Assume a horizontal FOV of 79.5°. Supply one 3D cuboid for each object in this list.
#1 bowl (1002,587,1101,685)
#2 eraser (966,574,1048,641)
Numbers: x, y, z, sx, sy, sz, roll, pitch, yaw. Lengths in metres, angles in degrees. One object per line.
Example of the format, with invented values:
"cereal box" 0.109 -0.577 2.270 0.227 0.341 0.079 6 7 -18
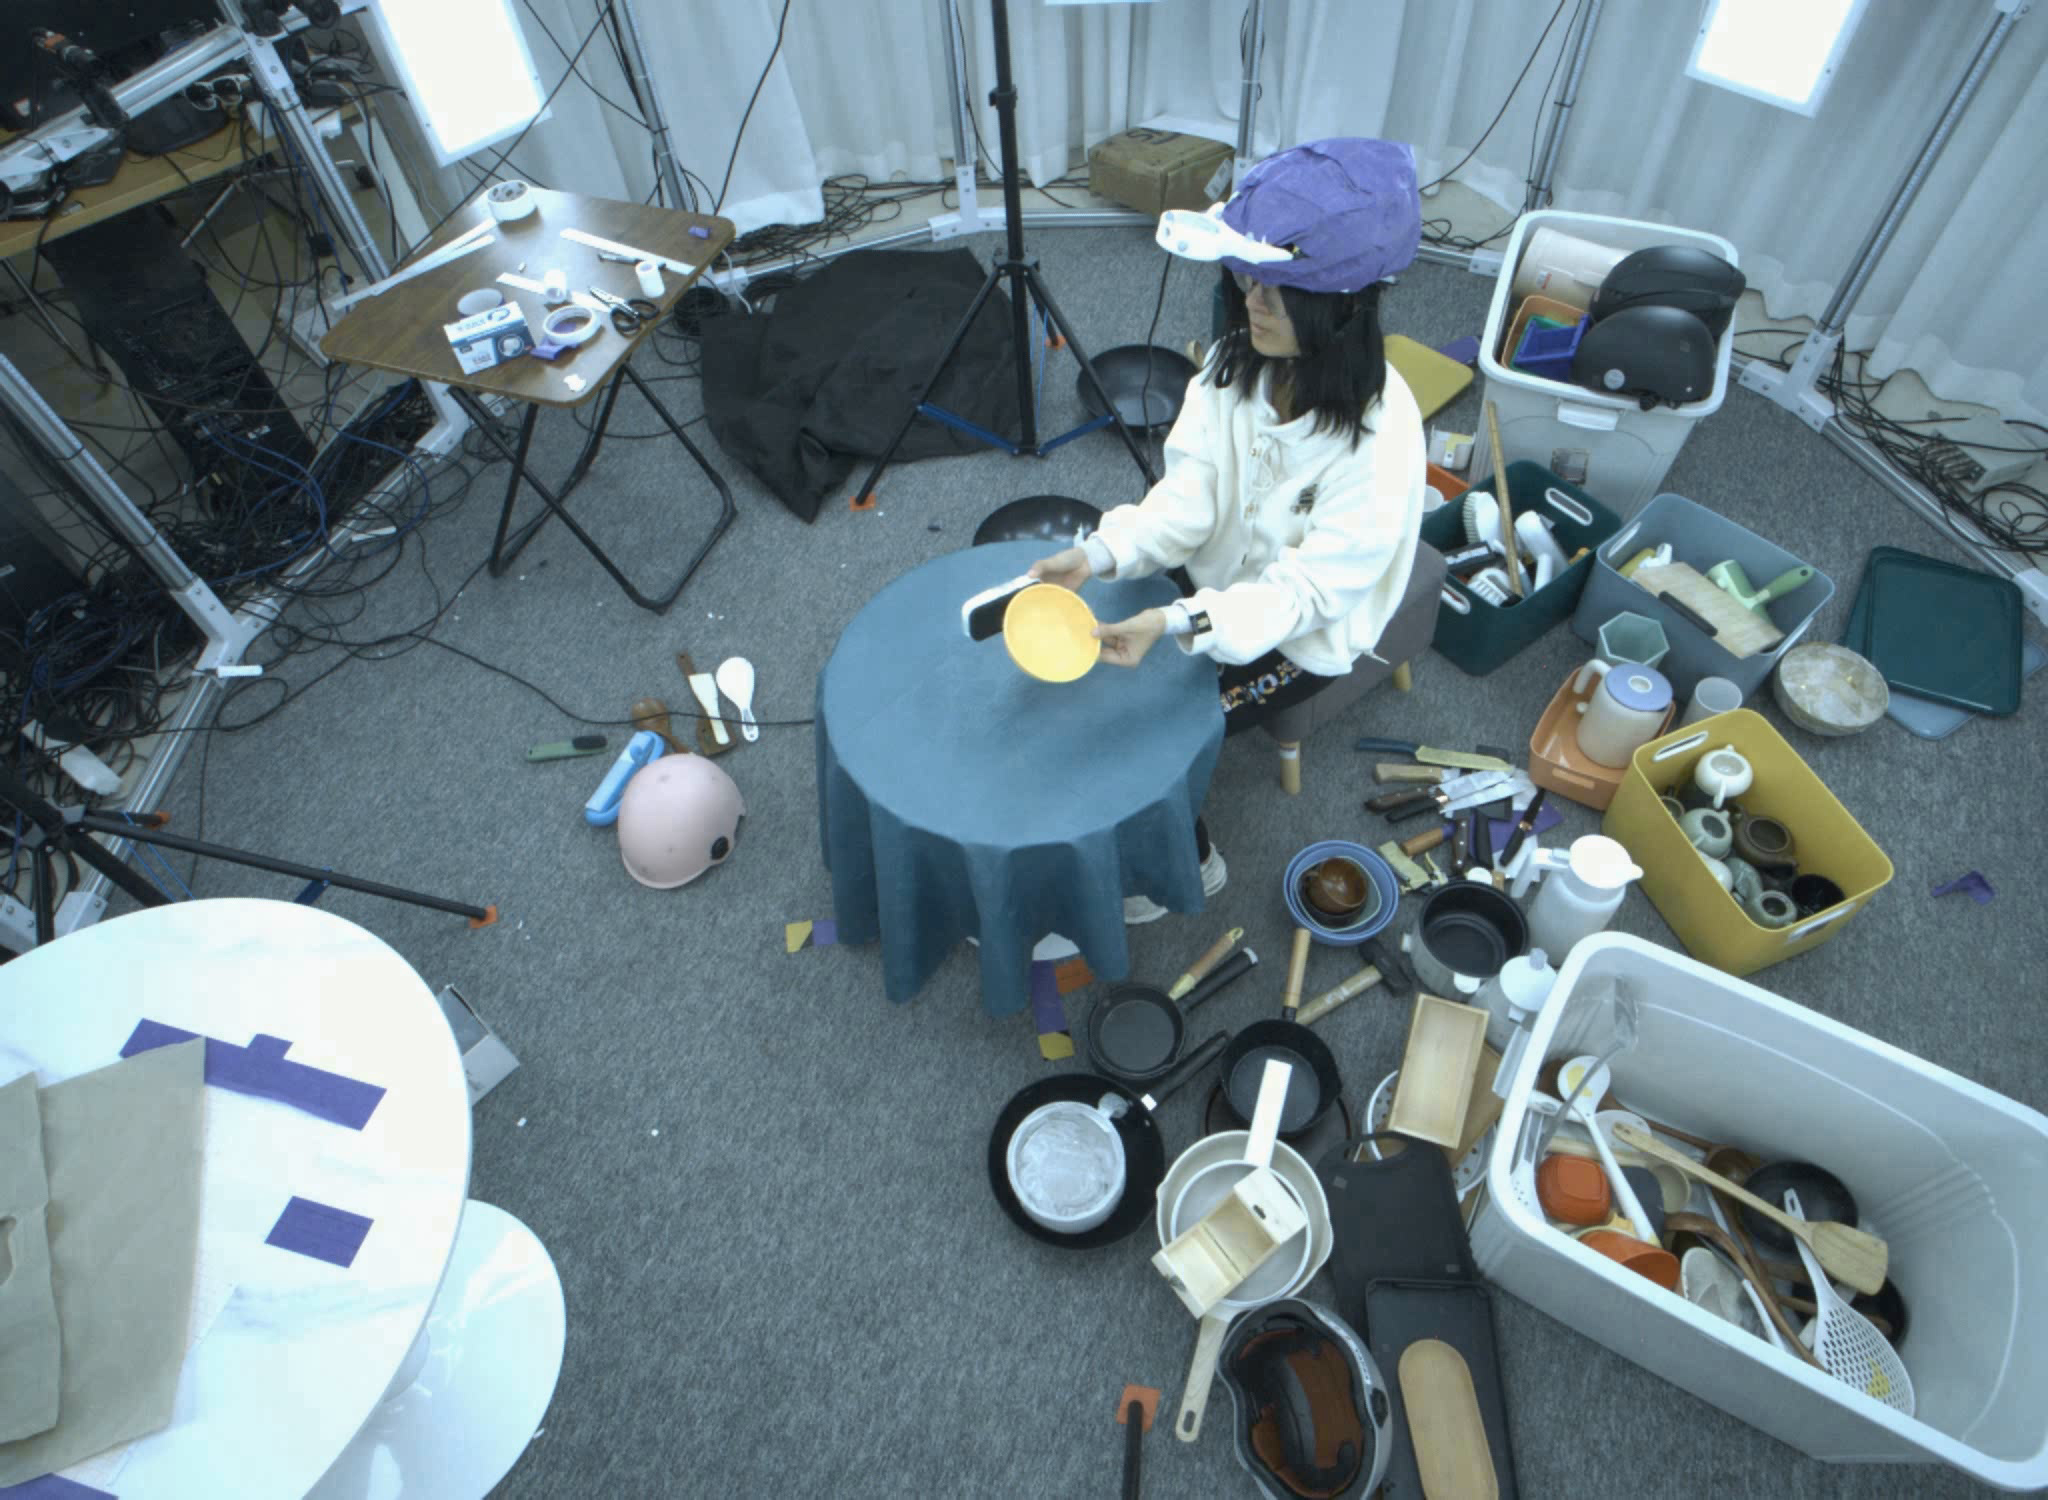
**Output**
"bowl" 0.030 -0.151 1.721 0.147 0.059 0.144 6 74 -20
"eraser" -0.025 -0.204 1.744 0.133 0.064 0.034 -28 53 -25
